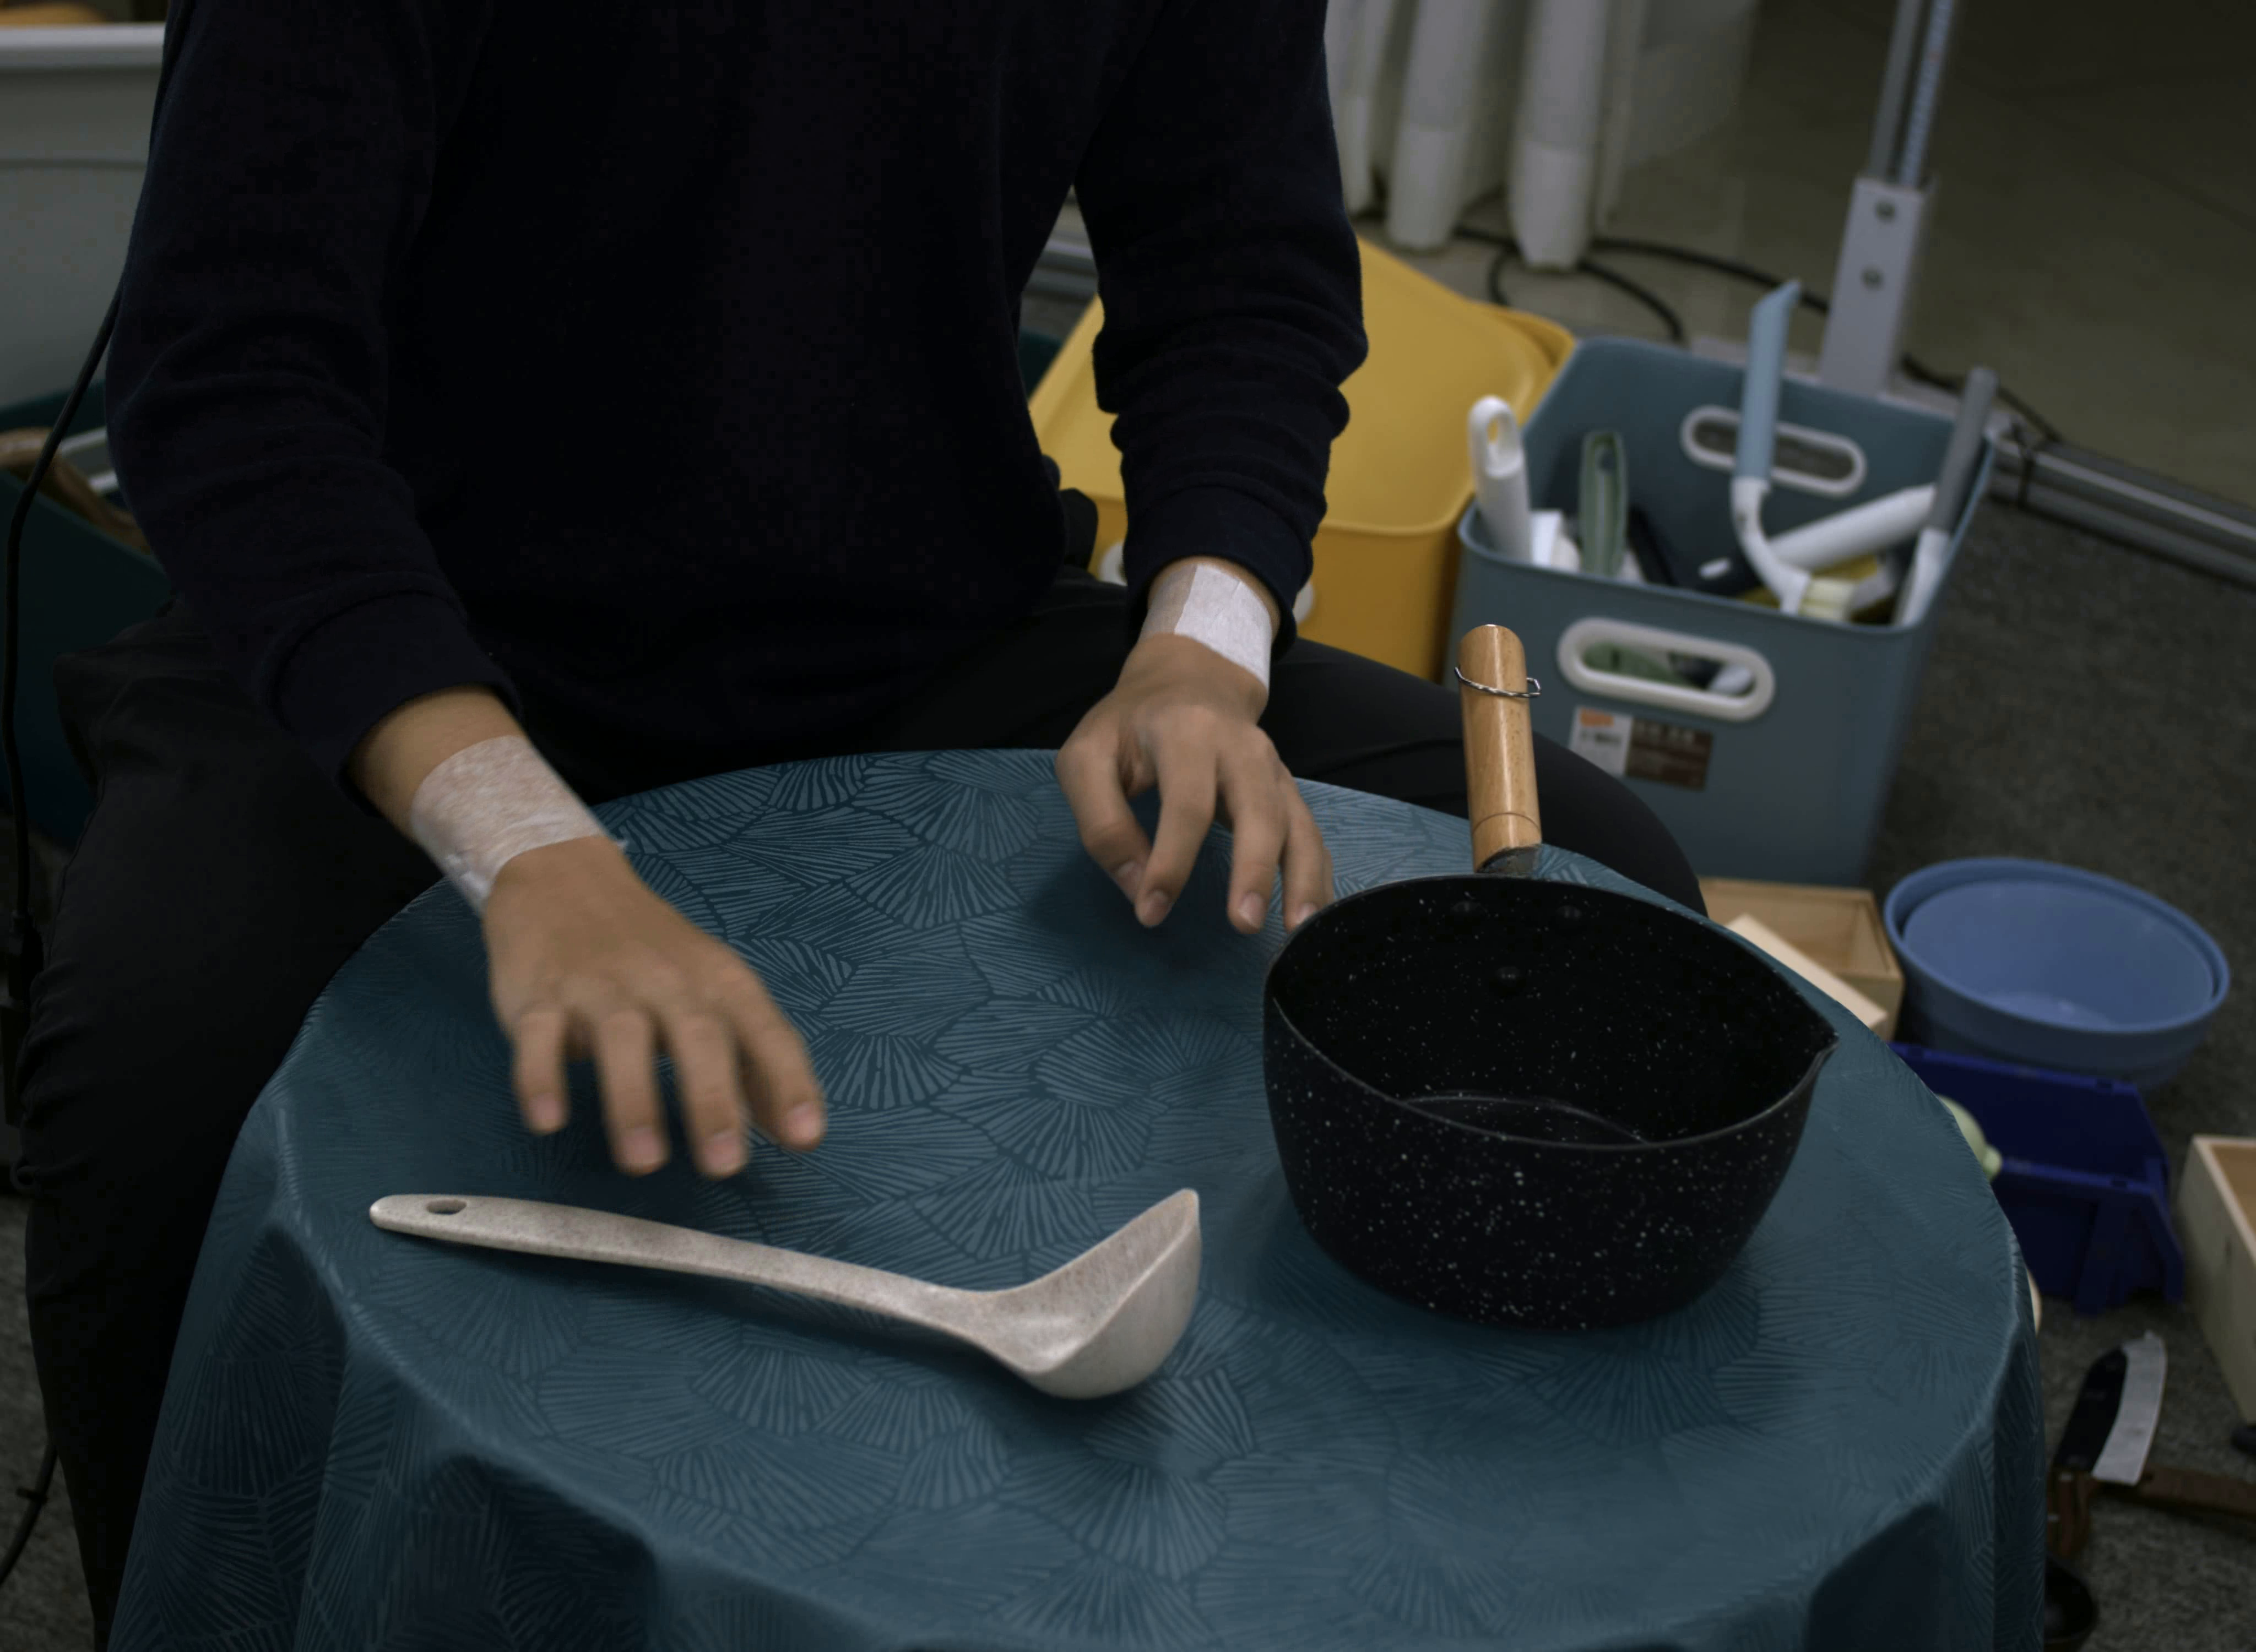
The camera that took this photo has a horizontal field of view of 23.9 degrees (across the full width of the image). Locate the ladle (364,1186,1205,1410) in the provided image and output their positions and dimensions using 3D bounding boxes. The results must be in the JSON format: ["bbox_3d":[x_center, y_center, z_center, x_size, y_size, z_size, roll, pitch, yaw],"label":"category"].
[{"bbox_3d":[-0.111,0.126,1.695,0.274,0.069,0.090,12,35,7],"label":"ladle"}]

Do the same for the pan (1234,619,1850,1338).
[{"bbox_3d":[0.133,0.049,1.860,0.207,0.108,0.345,3,28,-4],"label":"pan"}]
